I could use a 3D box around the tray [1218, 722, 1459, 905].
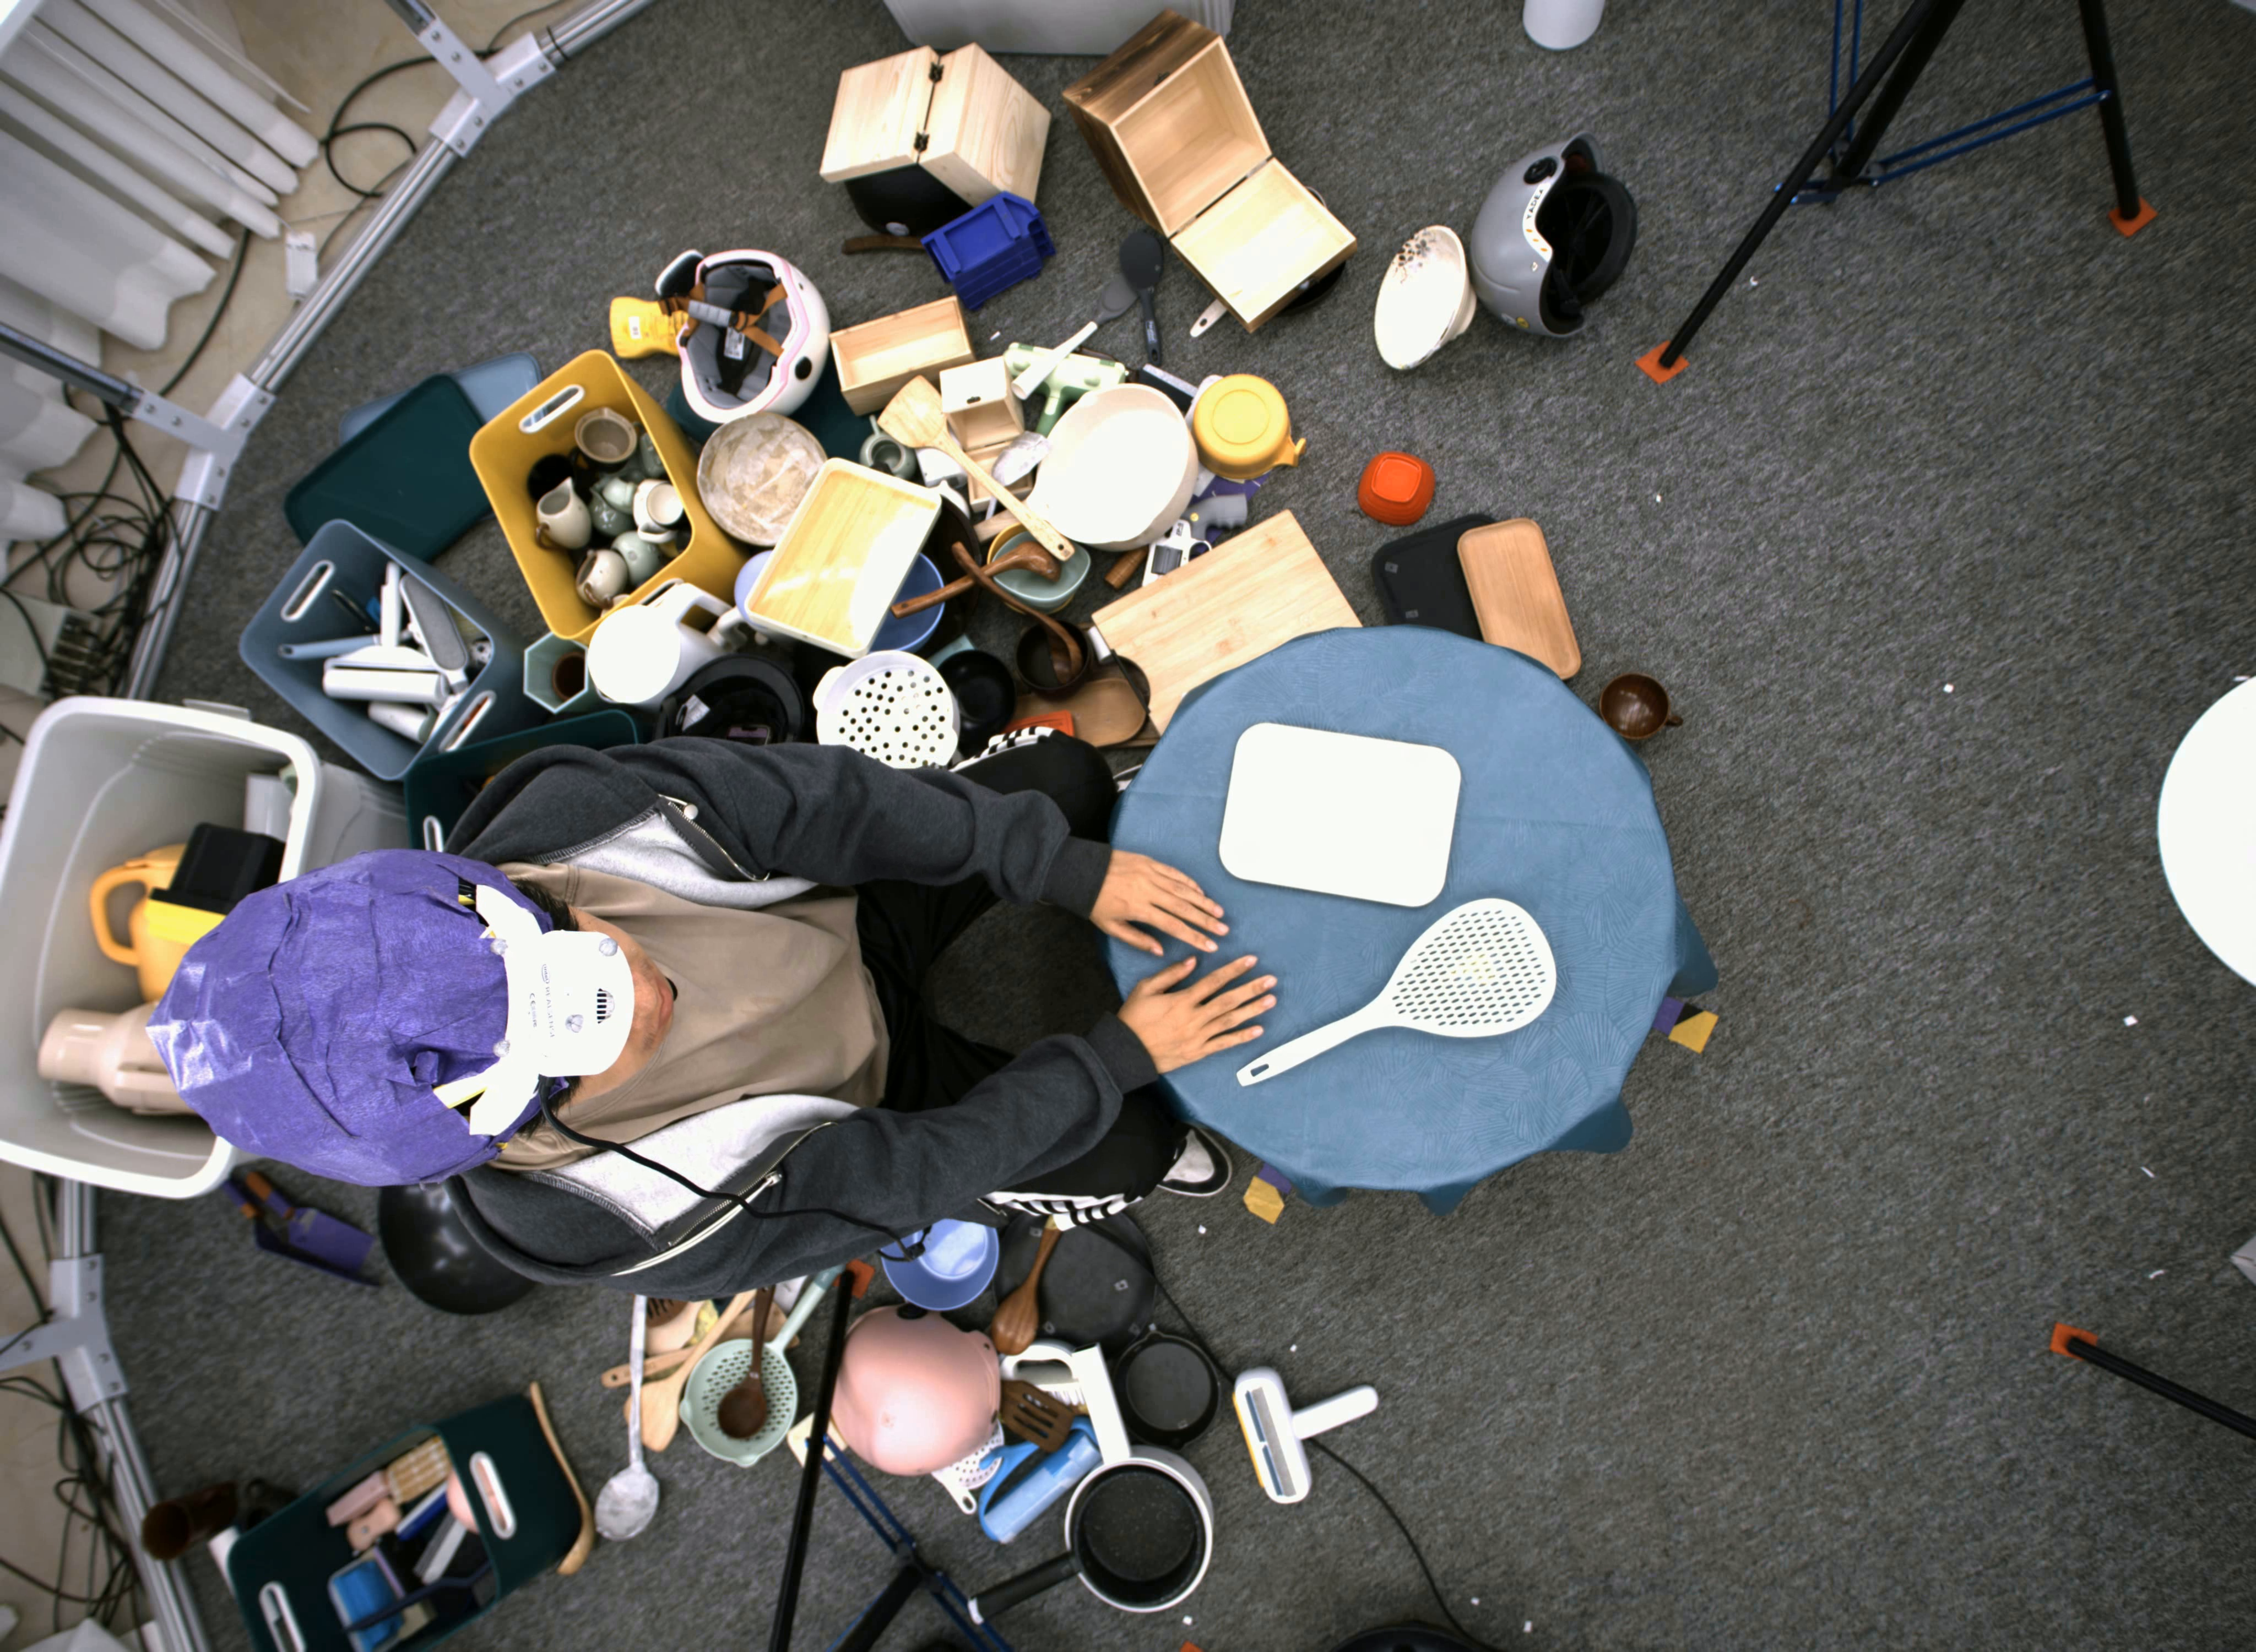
[{"bbox_3d":[0.222,-0.015,1.464,0.240,0.017,0.171,9,89,11],"label":"tray"}]

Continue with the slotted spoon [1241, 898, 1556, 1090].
[{"bbox_3d":[0.270,0.190,1.433,0.350,0.050,0.136,-26,86,8],"label":"slotted spoon"}]
